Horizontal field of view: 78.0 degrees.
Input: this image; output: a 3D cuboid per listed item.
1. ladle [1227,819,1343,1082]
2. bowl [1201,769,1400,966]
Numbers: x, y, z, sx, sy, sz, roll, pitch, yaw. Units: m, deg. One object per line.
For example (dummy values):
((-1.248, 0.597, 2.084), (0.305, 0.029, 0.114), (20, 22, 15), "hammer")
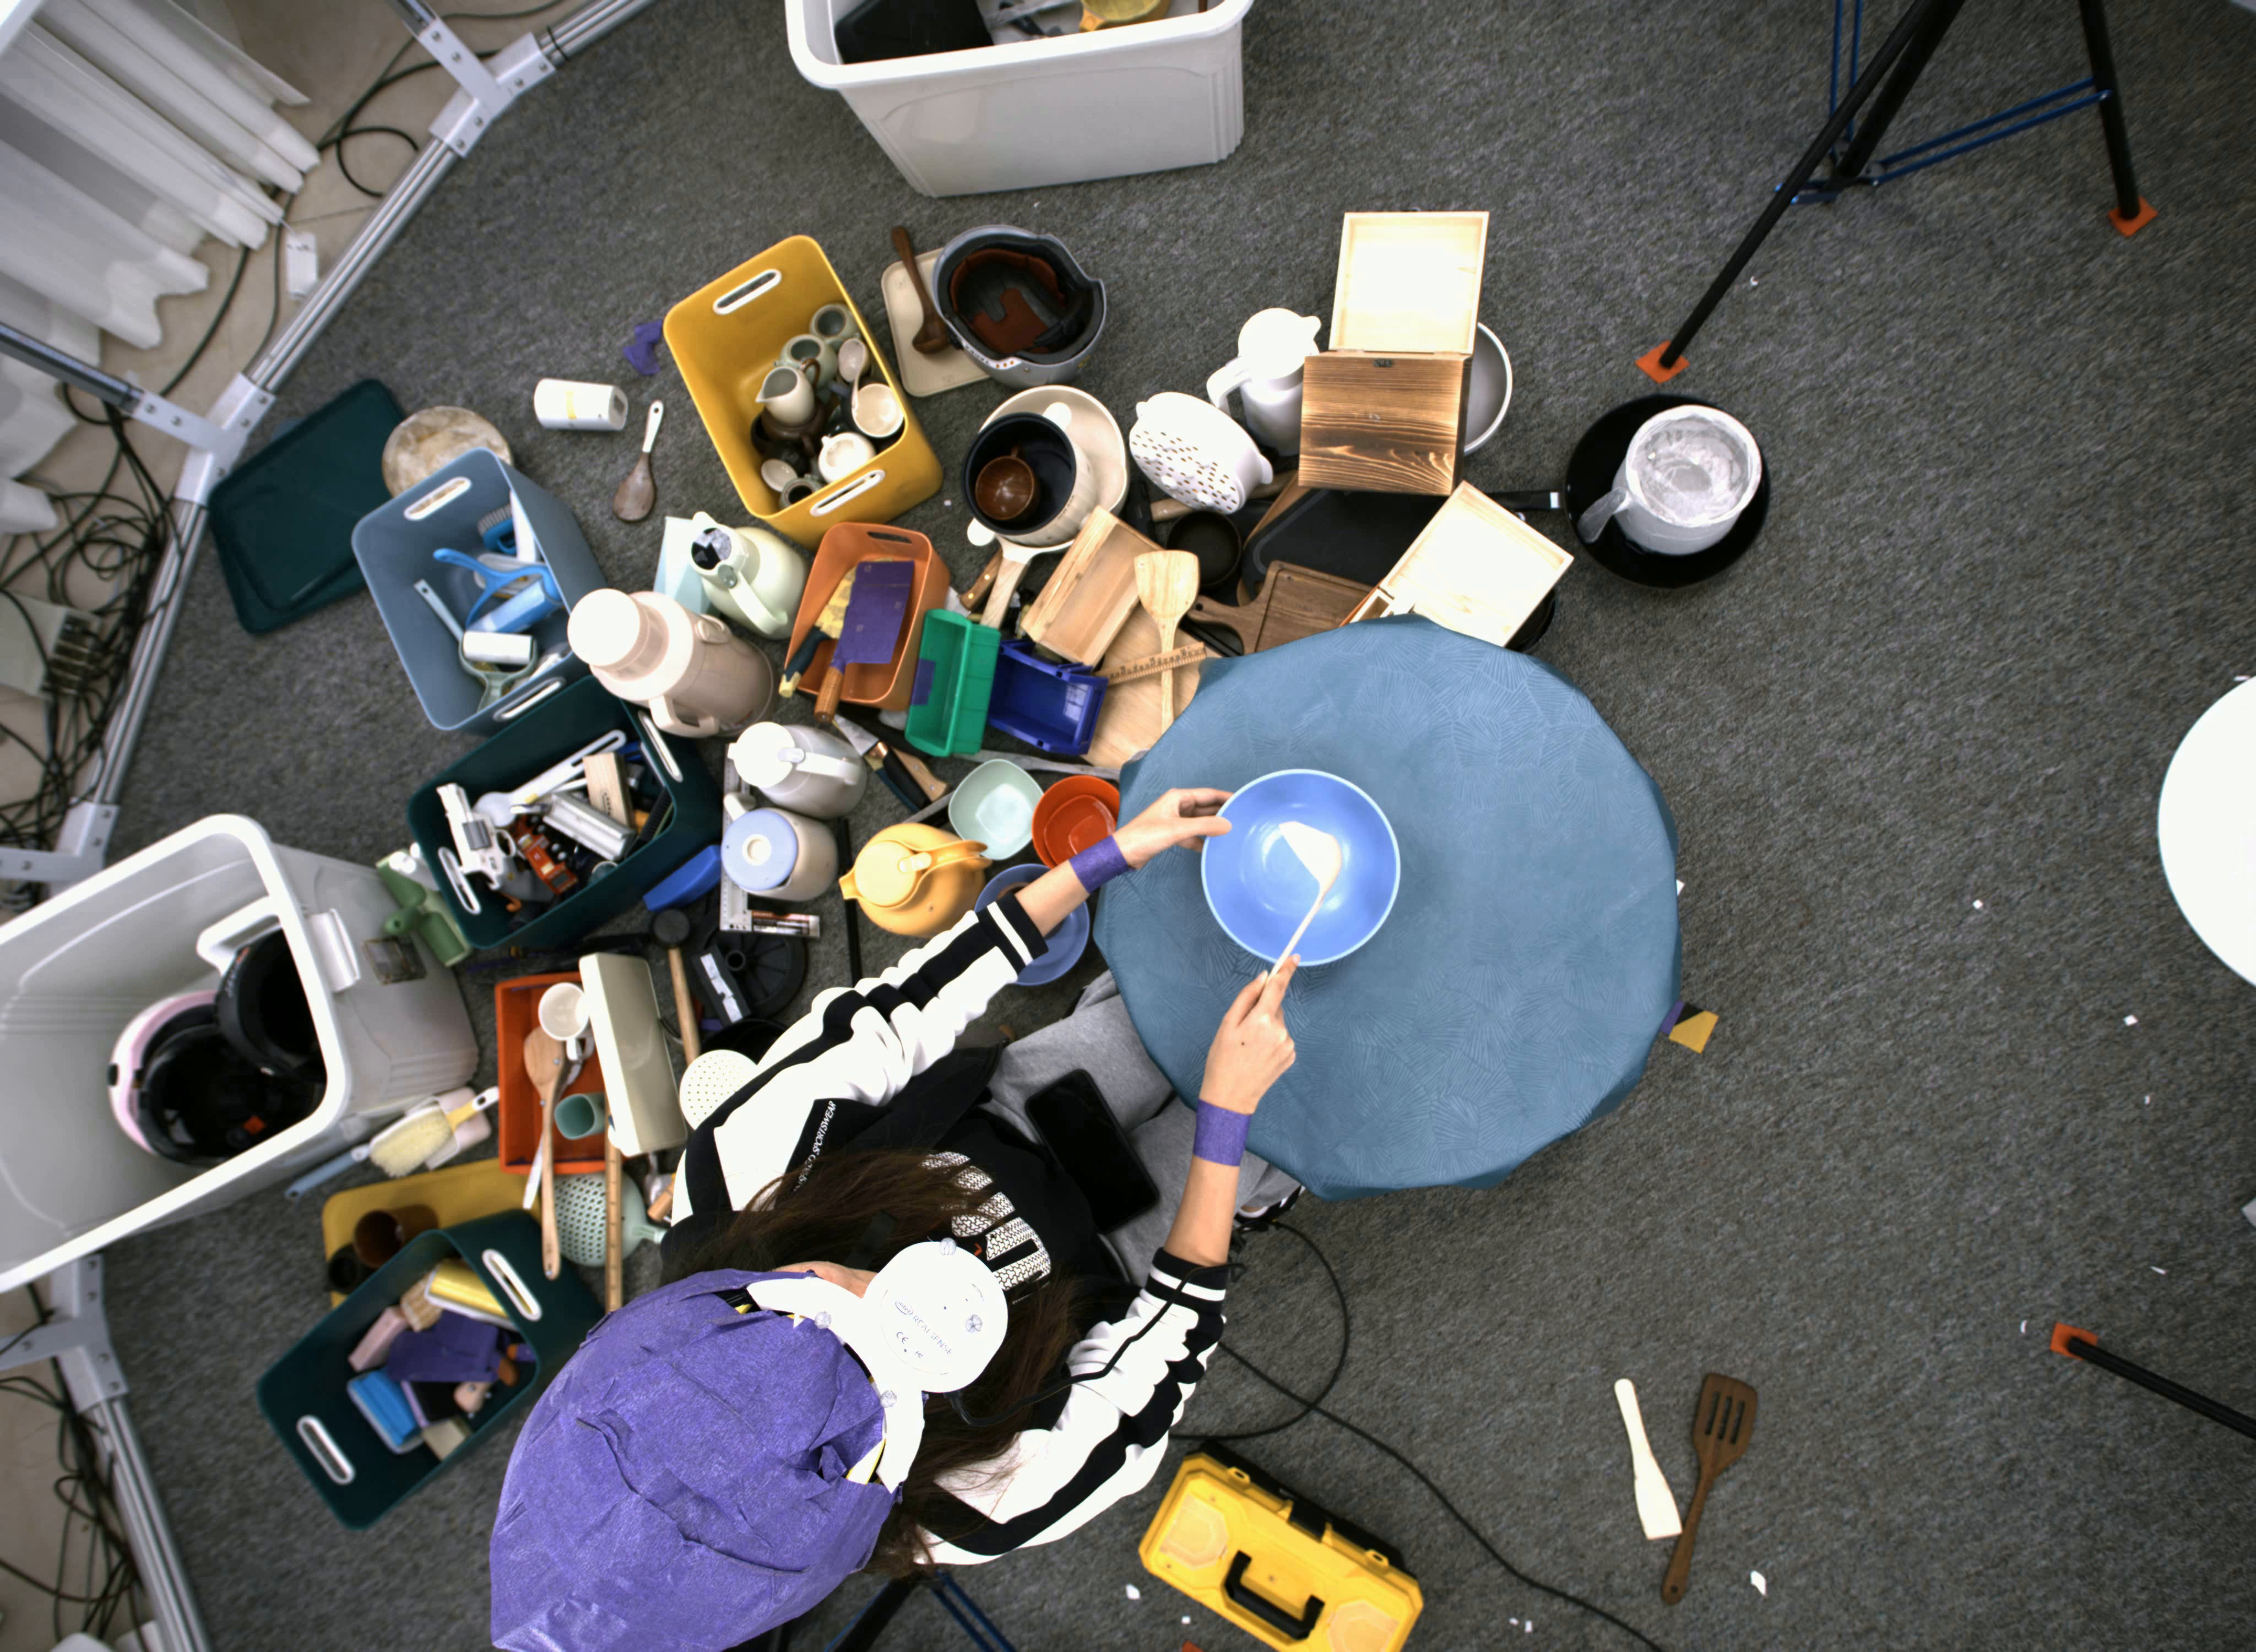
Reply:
((0.123, 0.113, 1.316), (0.072, 0.072, 0.255), (29, 96, 16), "ladle")
((0.175, 0.039, 1.414), (0.197, 0.095, 0.197), (1, 95, 7), "bowl")
